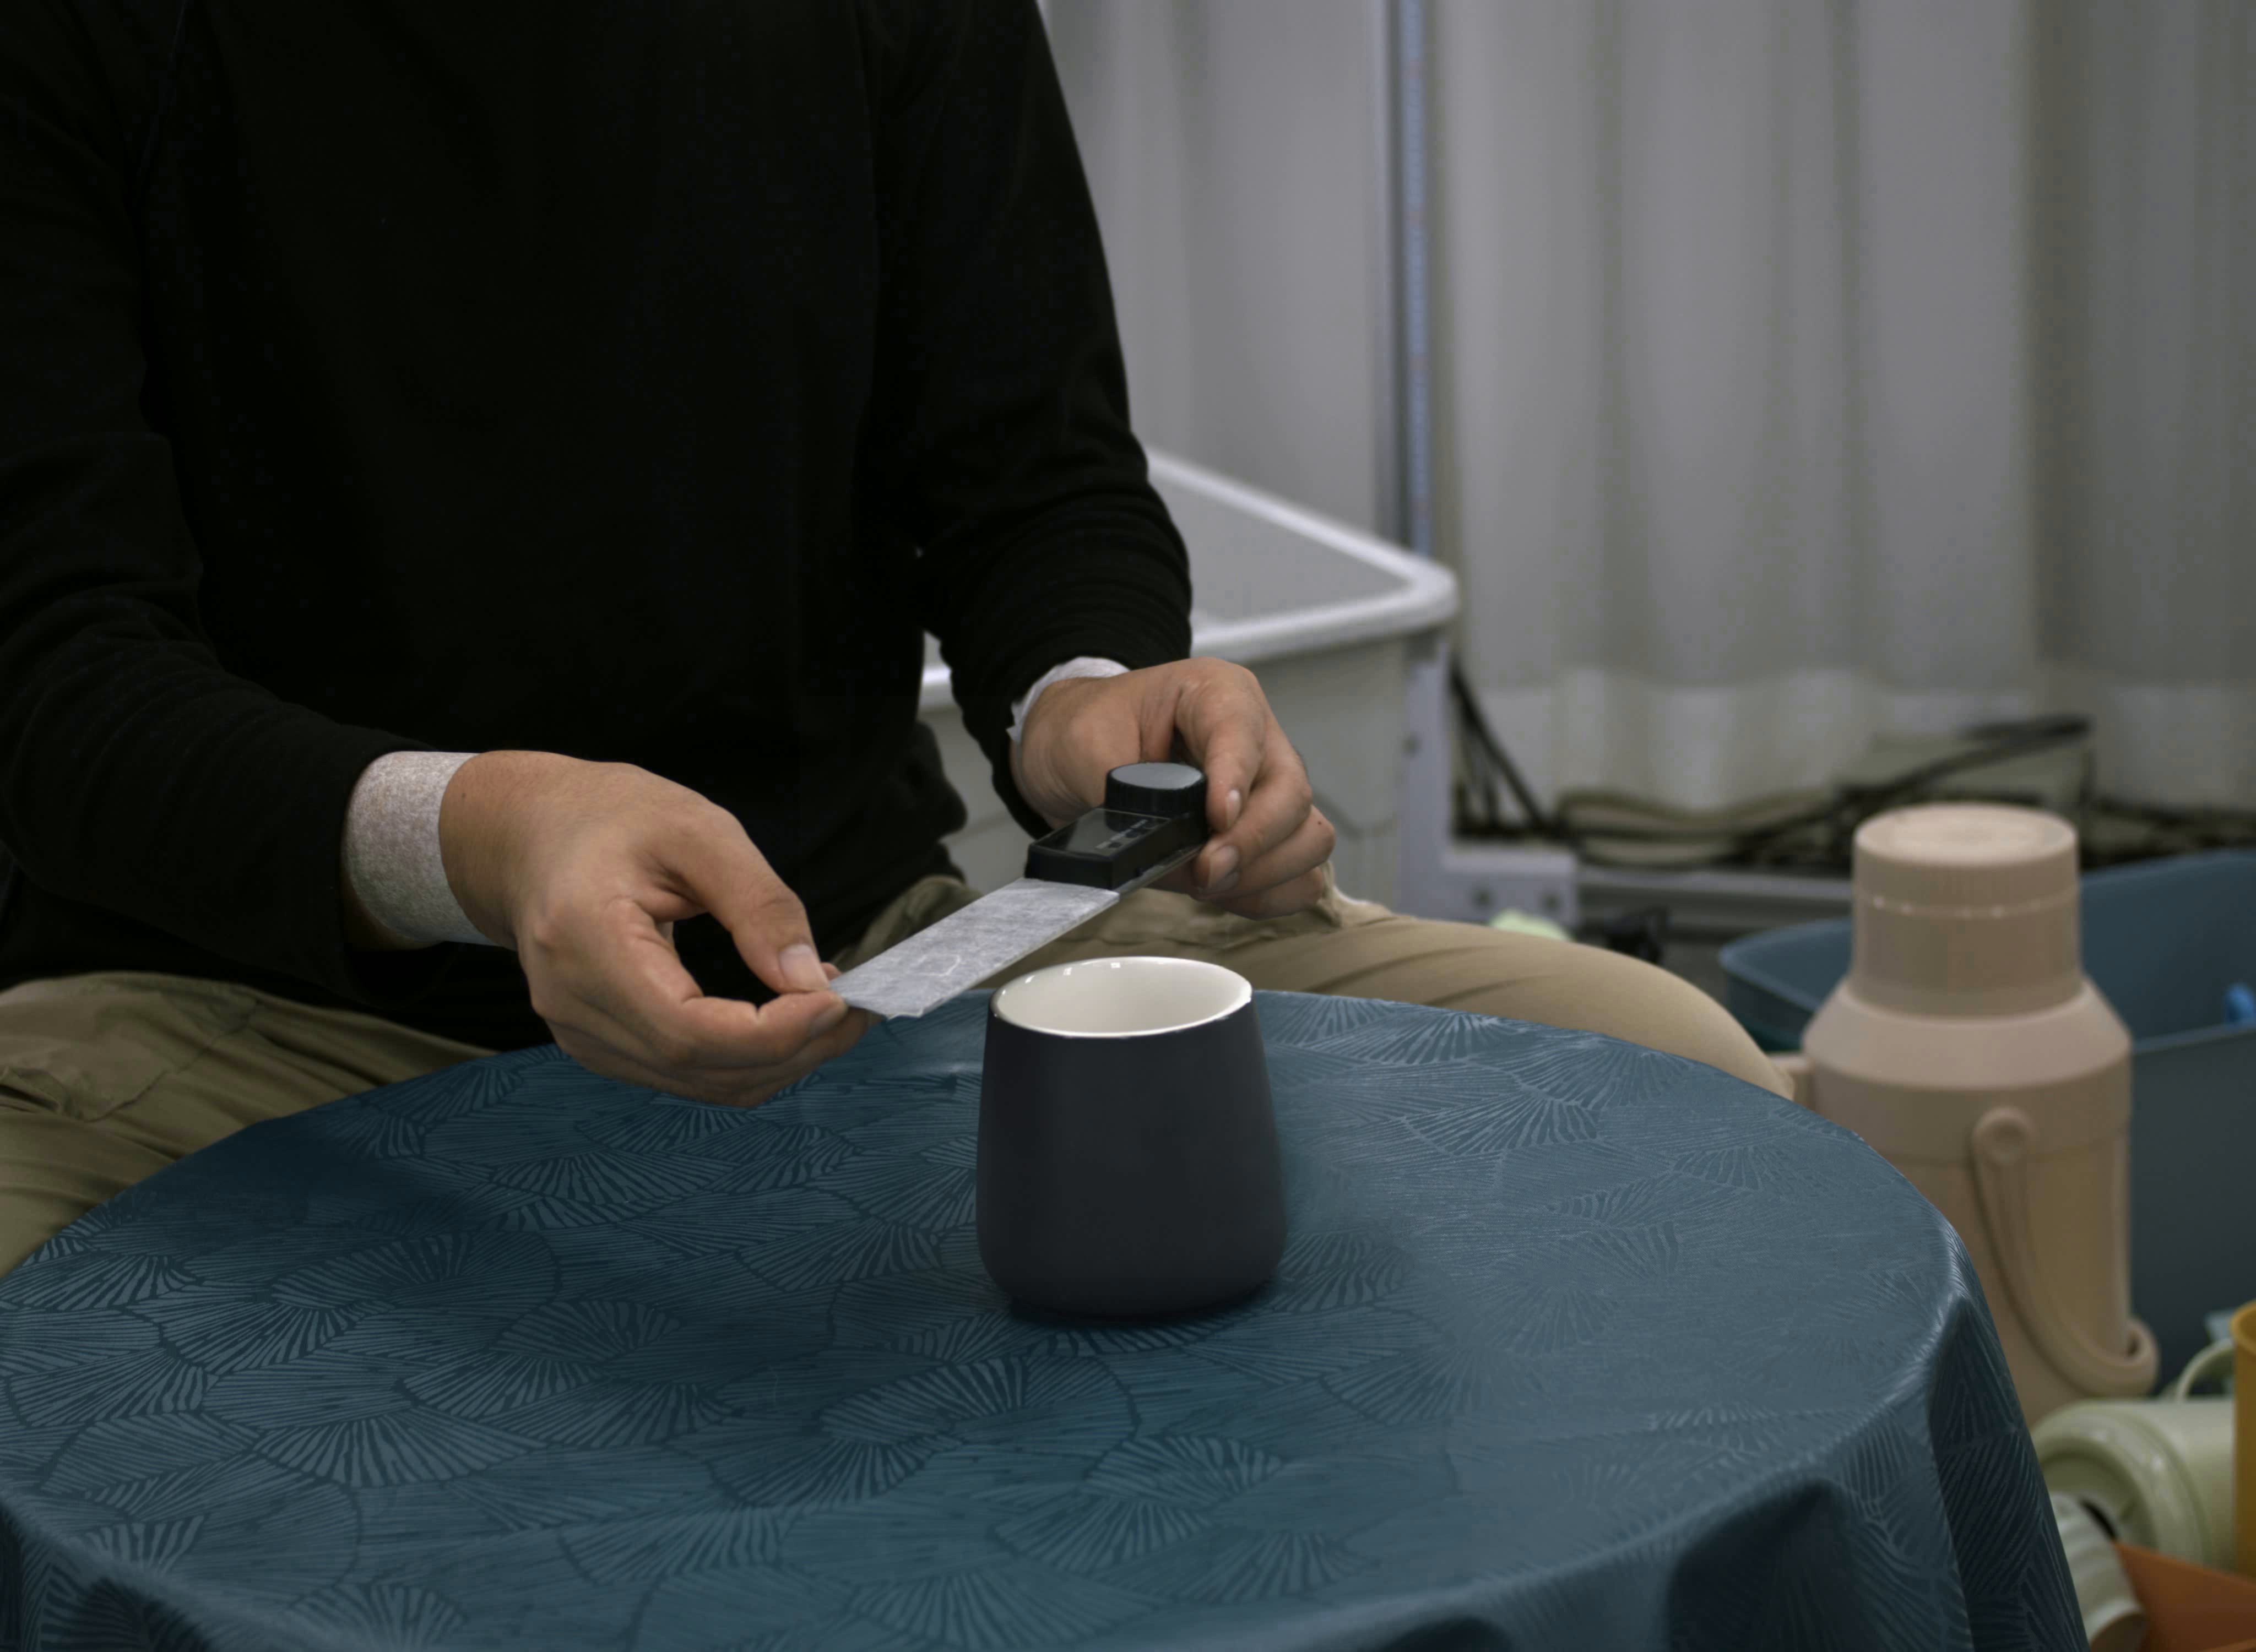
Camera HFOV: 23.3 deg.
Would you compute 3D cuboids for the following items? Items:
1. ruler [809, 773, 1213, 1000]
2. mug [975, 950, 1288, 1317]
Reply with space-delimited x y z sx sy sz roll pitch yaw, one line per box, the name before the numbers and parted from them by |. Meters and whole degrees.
ruler | -0.030 0.016 1.636 0.038 0.024 0.218 0 12 25
mug | -0.004 0.087 1.635 0.093 0.089 0.124 -6 16 -18
